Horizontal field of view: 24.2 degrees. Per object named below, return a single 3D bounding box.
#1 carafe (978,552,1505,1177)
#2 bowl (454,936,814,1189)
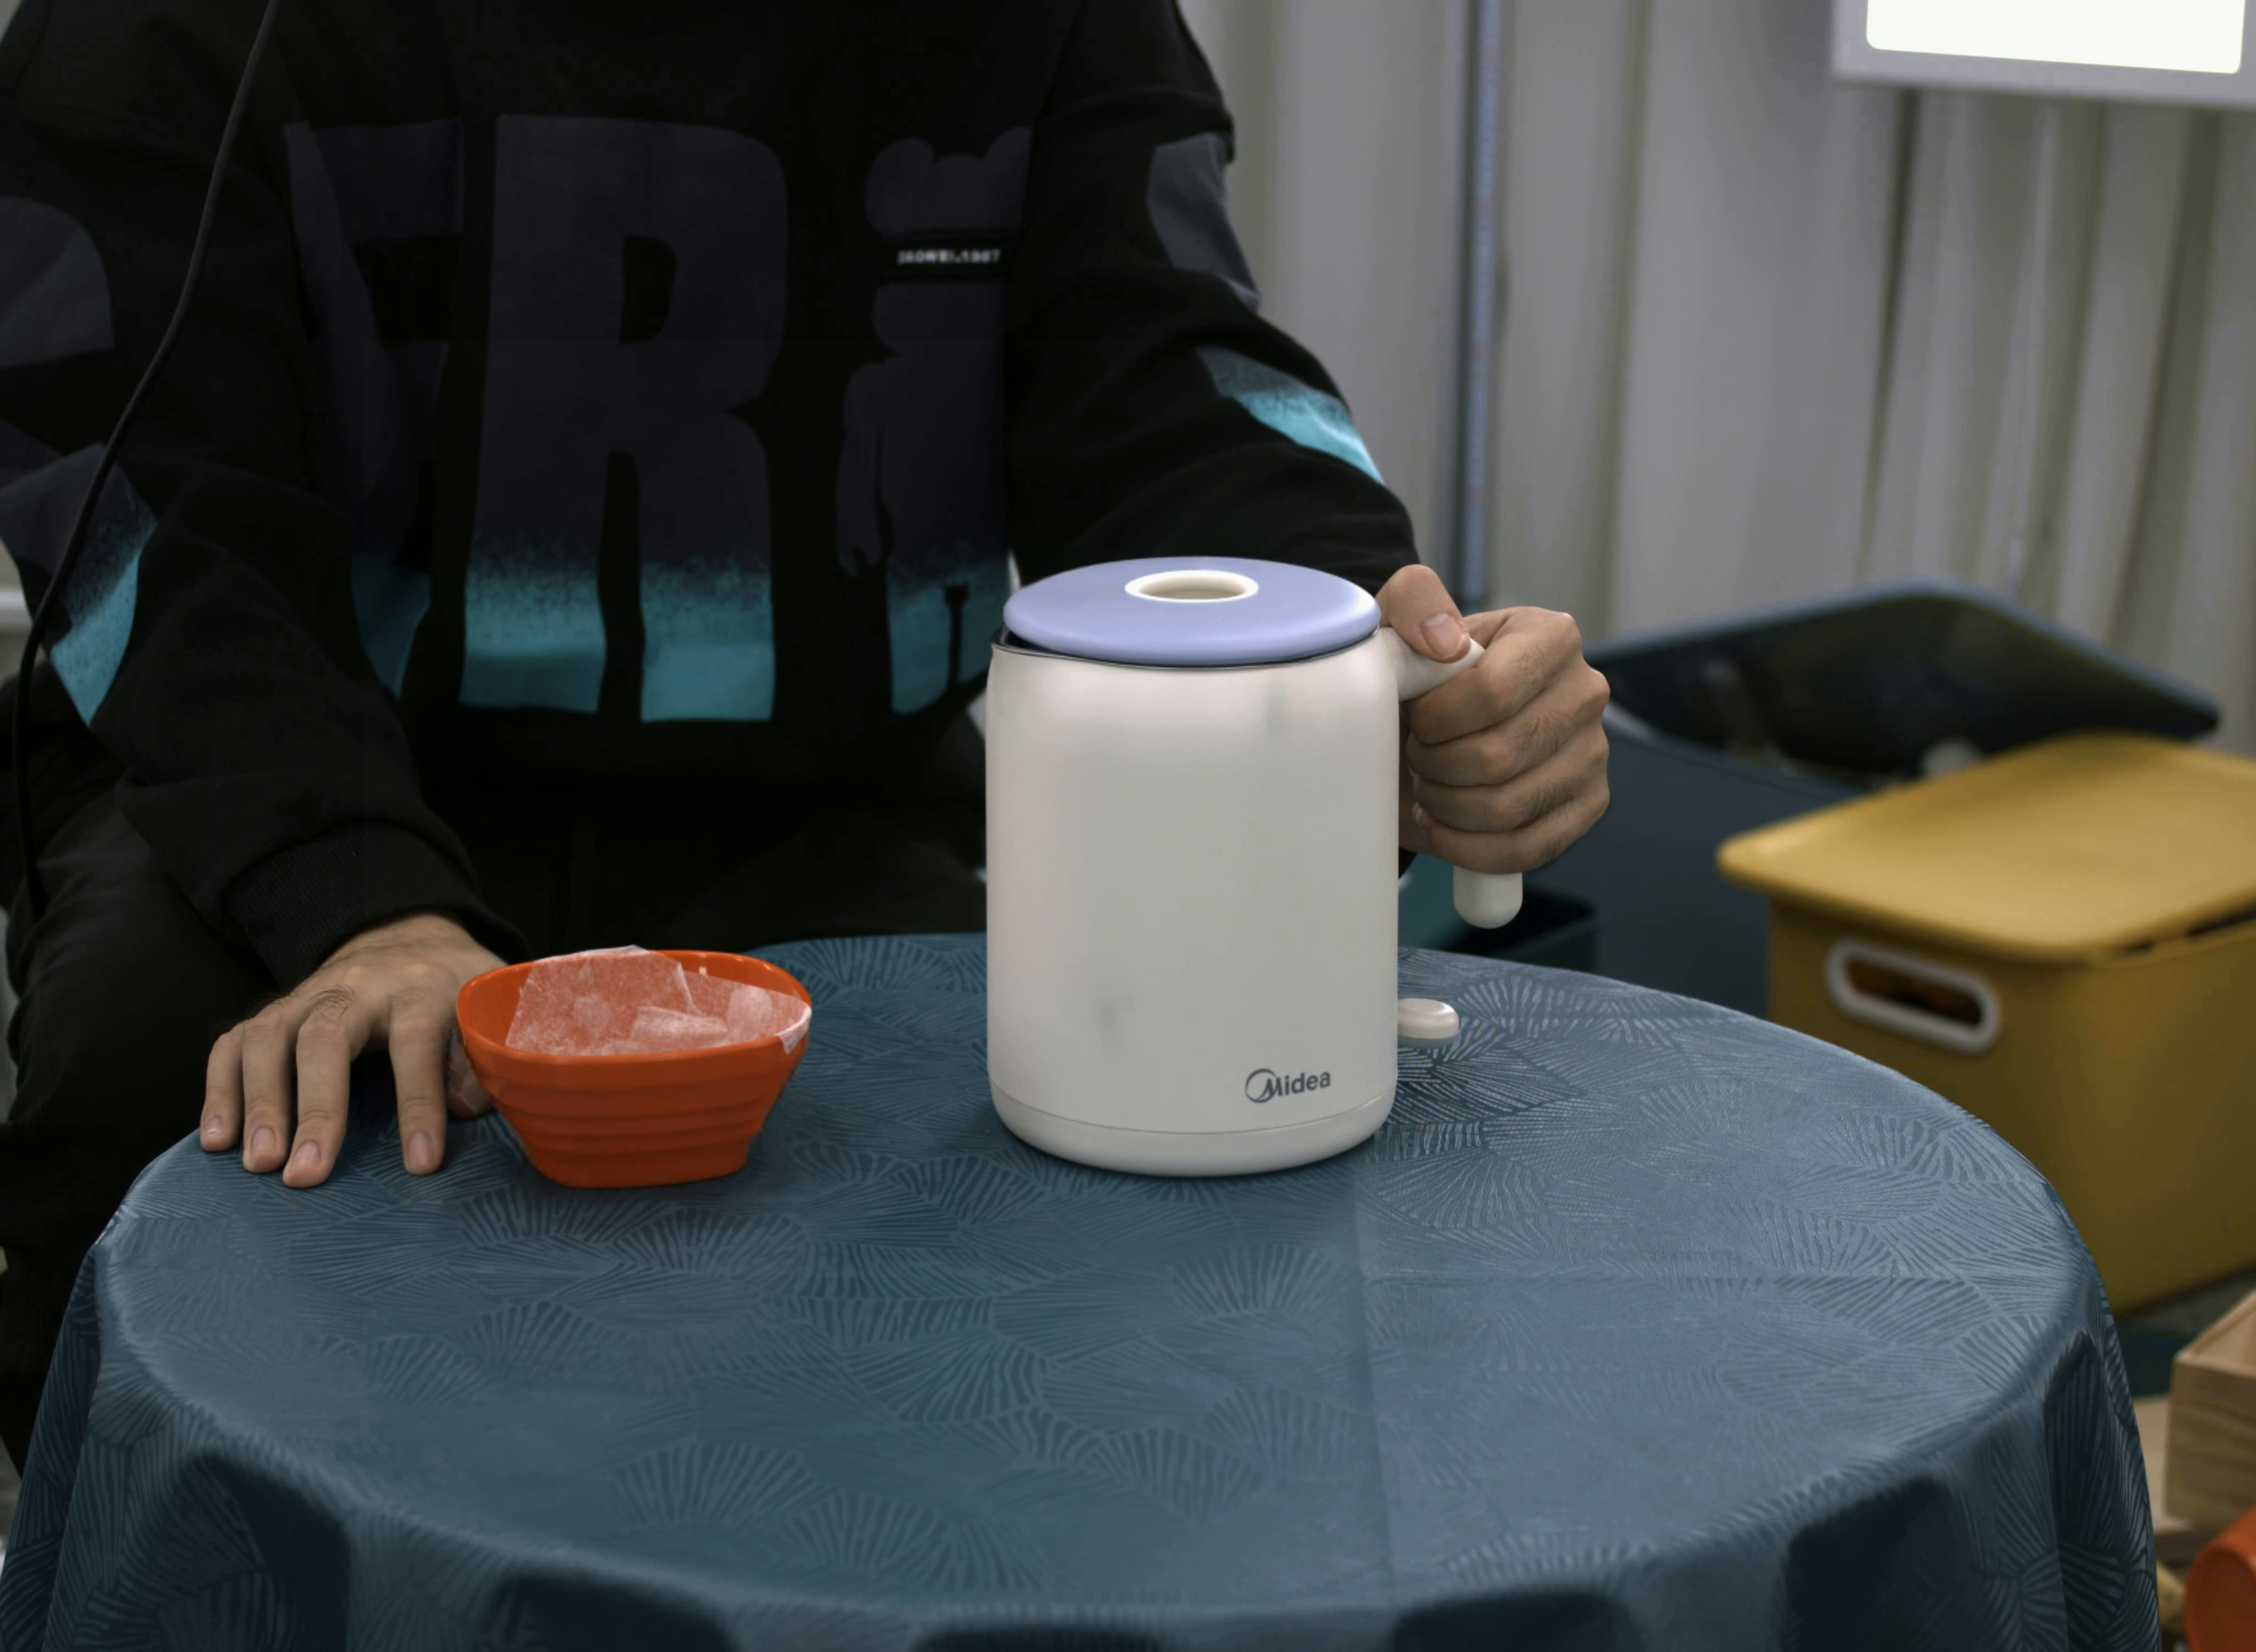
[{"bbox_3d":[0.040,0.009,1.675,0.192,0.184,0.130,-6,18,-29],"label":"carafe"},{"bbox_3d":[-0.153,0.076,1.643,0.118,0.052,0.118,-1,19,1],"label":"bowl"}]
